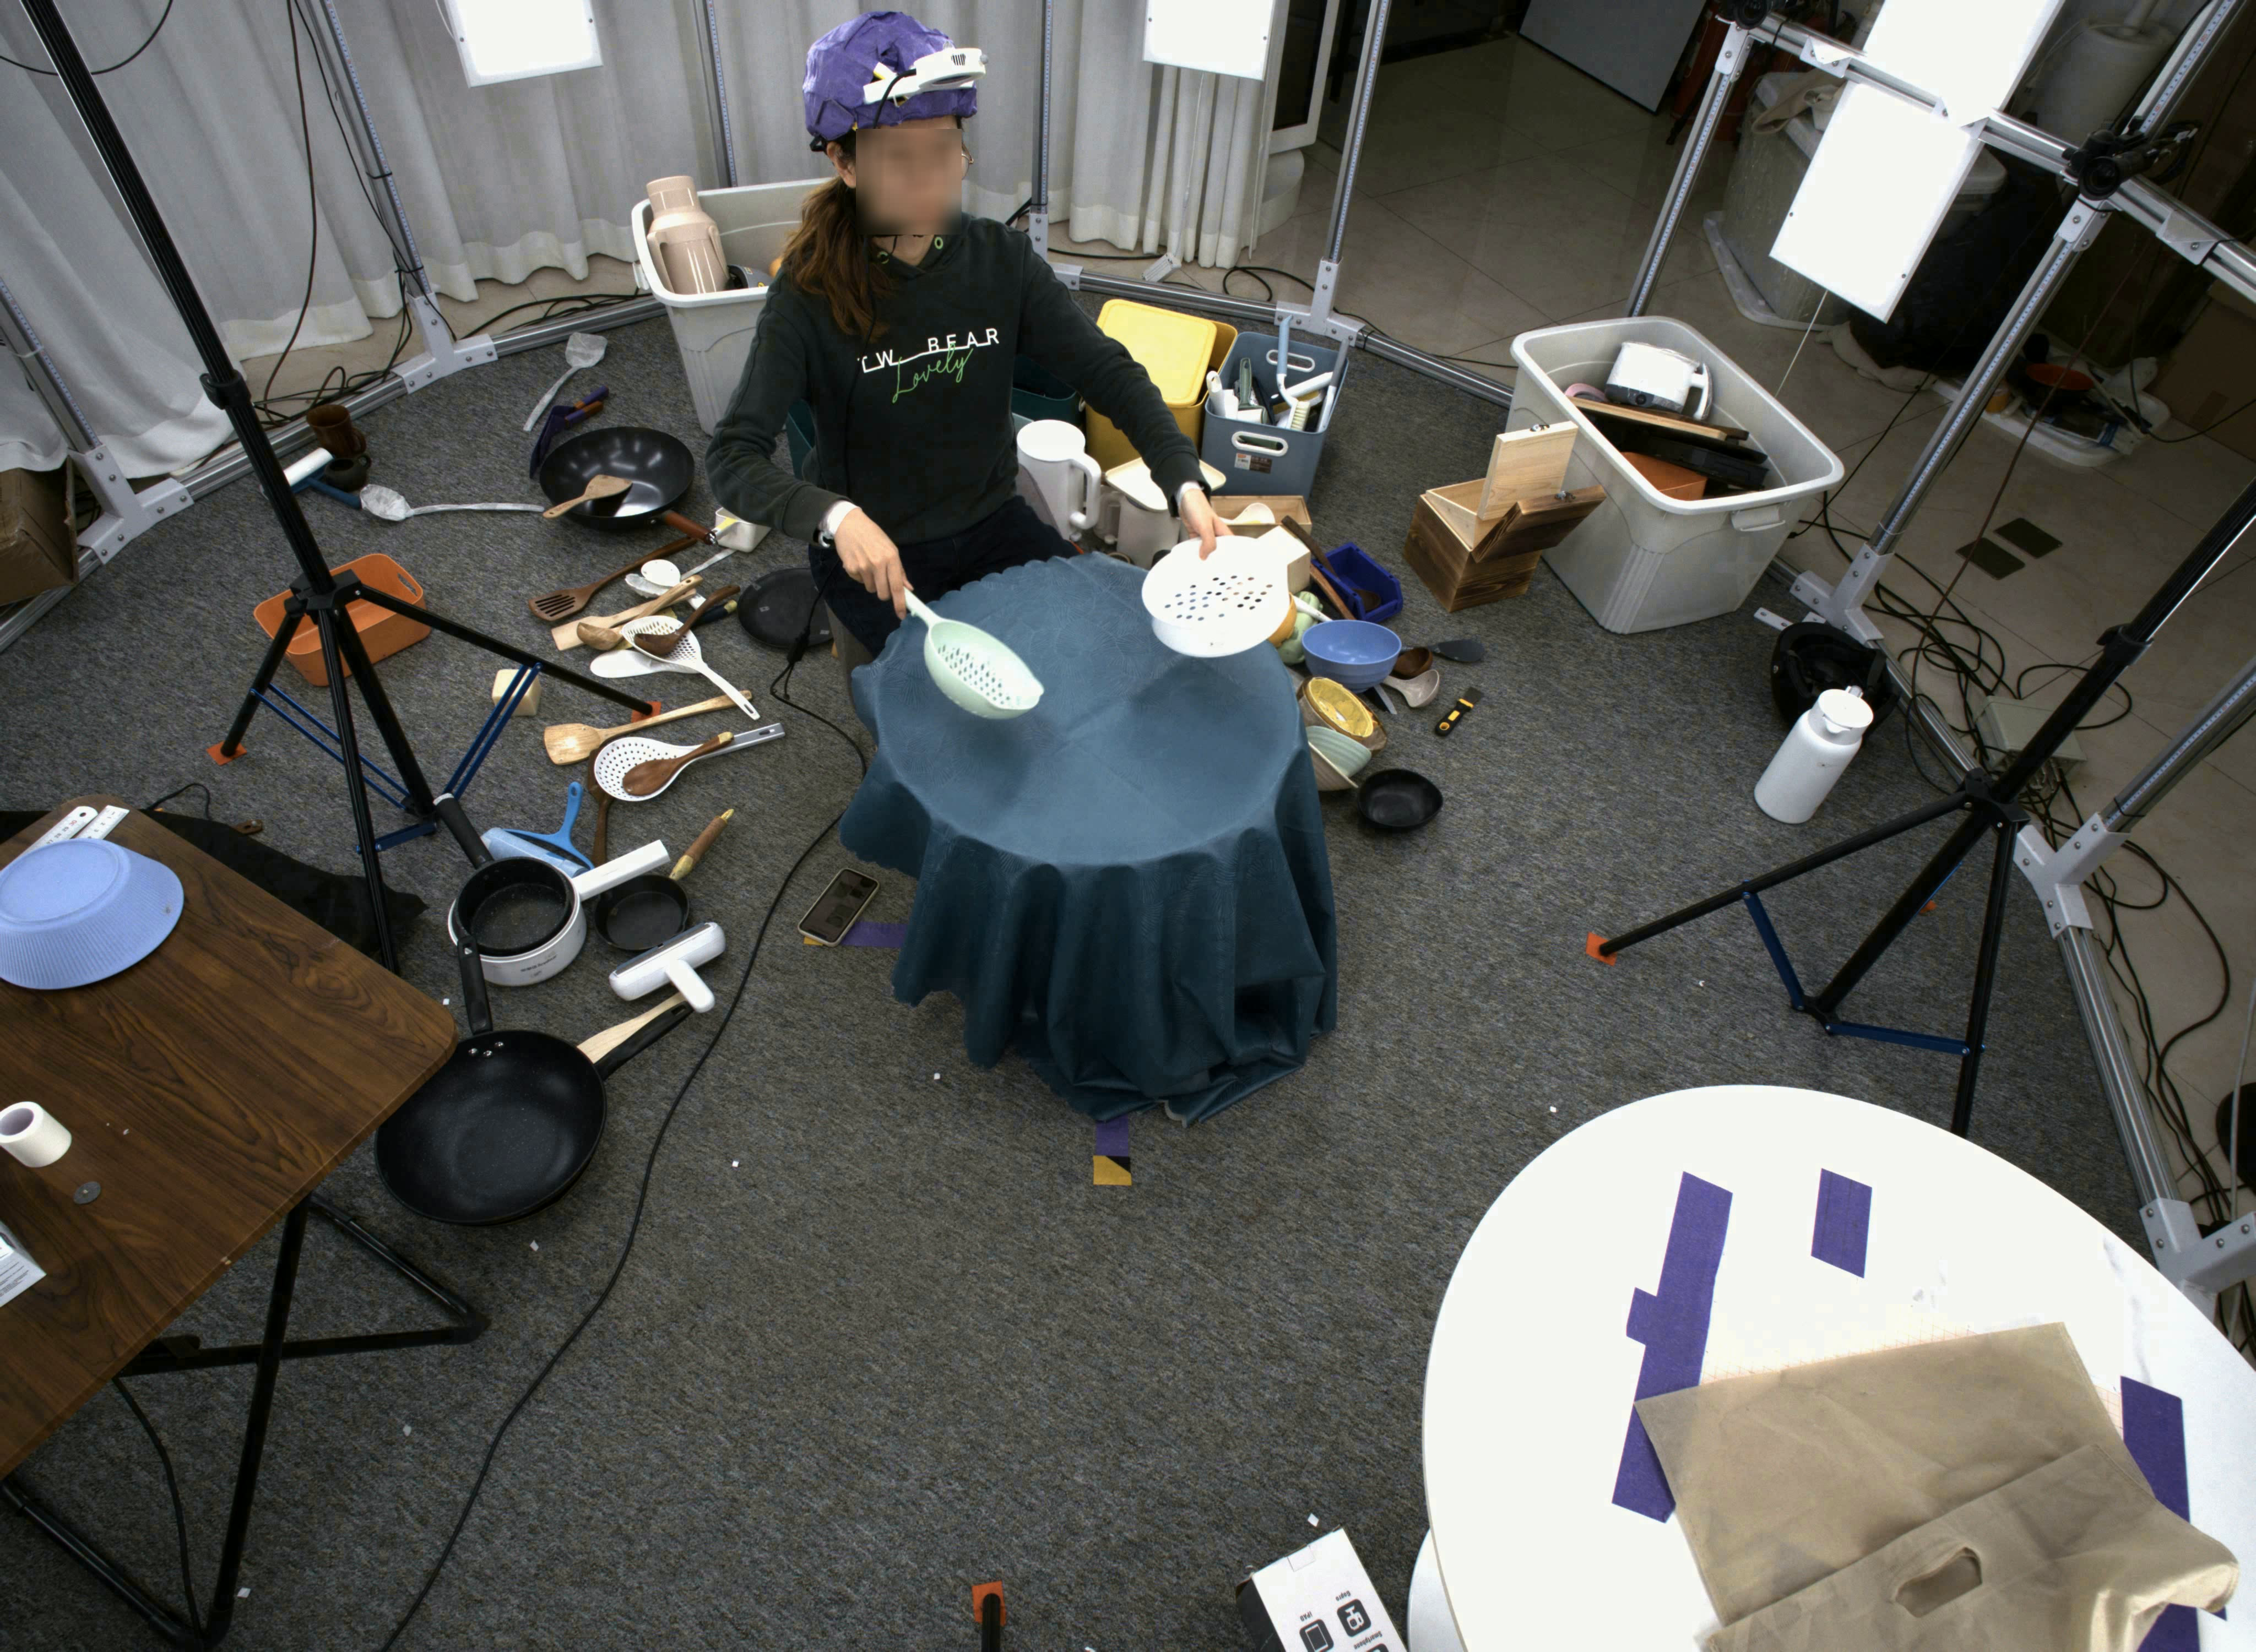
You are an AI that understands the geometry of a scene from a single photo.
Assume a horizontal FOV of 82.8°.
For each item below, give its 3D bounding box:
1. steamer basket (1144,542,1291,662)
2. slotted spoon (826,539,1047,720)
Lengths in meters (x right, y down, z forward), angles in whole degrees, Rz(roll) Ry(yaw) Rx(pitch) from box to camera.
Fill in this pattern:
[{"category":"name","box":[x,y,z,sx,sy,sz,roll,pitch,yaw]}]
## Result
[{"category":"steamer basket","box":[0.127,-0.308,1.775,0.202,0.067,0.236,-18,43,-3]},{"category":"slotted spoon","box":[-0.262,-0.269,1.705,0.360,0.074,0.170,49,27,5]}]
